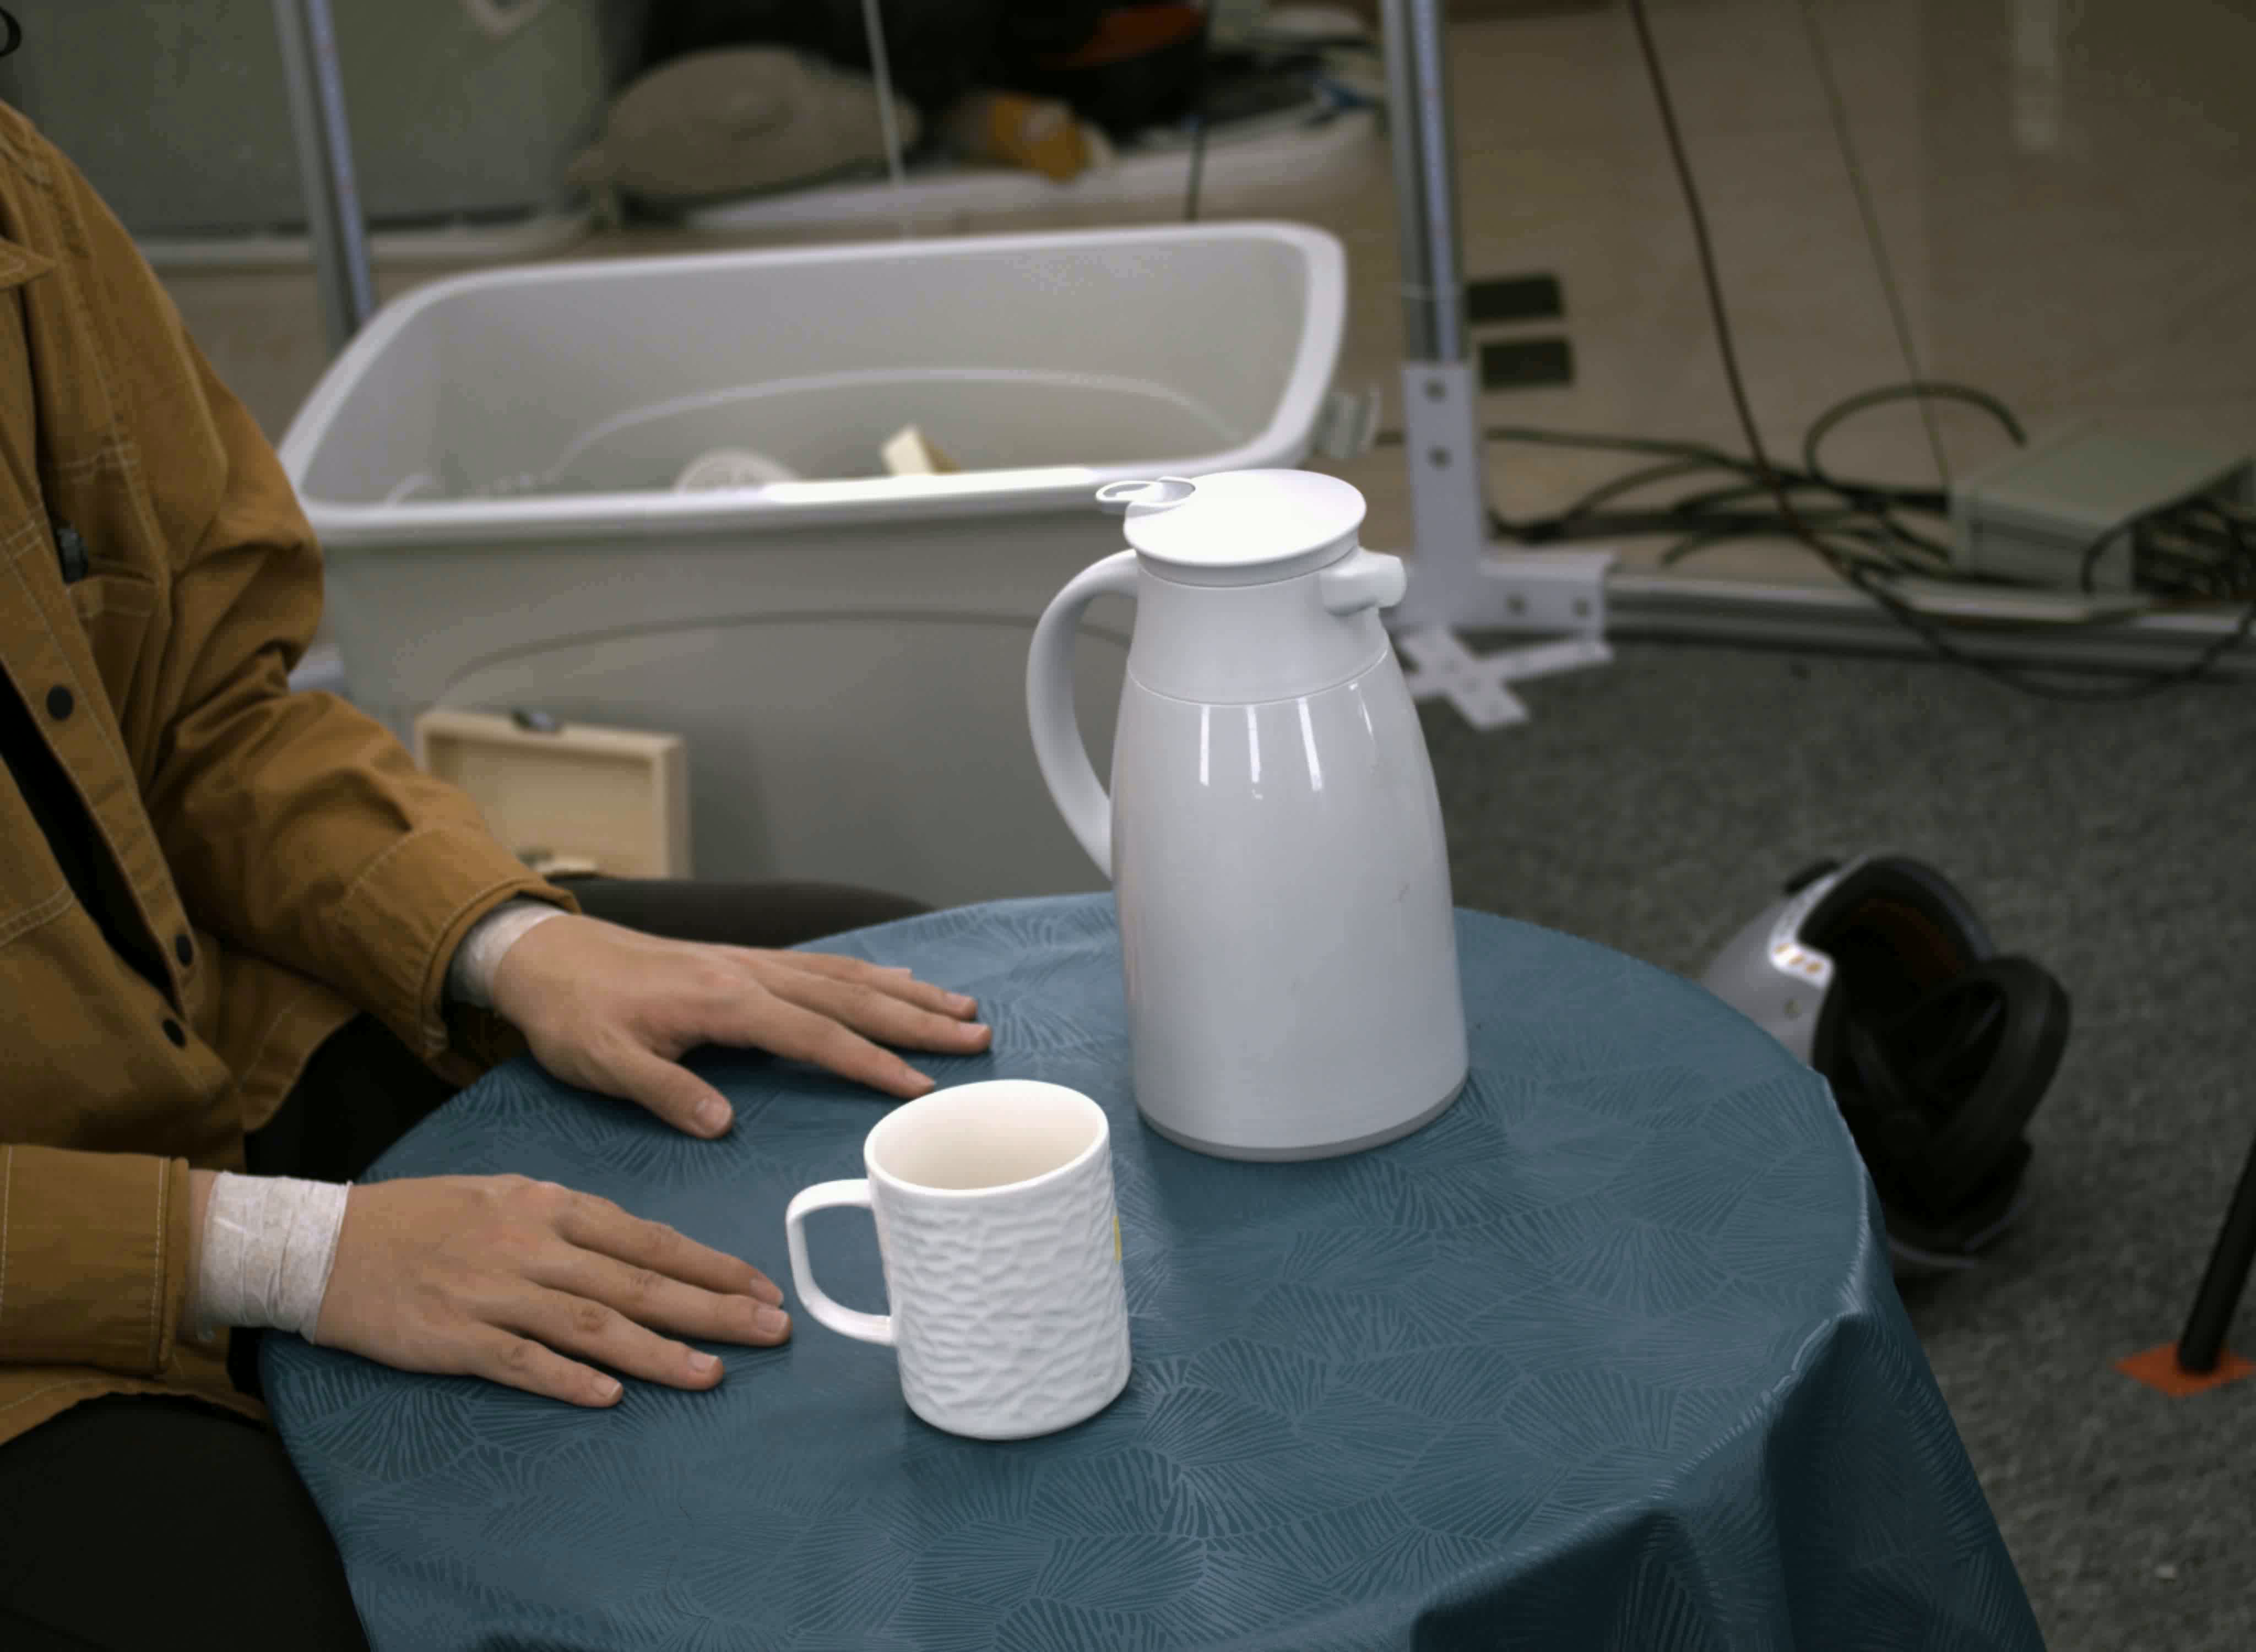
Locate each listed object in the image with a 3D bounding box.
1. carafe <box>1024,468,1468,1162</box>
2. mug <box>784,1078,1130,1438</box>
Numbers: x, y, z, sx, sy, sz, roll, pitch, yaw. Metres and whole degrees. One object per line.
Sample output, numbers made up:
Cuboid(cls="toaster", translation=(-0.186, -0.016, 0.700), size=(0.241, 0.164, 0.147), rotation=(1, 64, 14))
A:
Cuboid(cls="carafe", translation=(0.038, -0.013, 2.168), size=(0.167, 0.253, 0.131), rotation=(9, 31, 29))
Cuboid(cls="mug", translation=(-0.061, 0.154, 2.007), size=(0.118, 0.103, 0.083), rotation=(-4, 26, 4))
